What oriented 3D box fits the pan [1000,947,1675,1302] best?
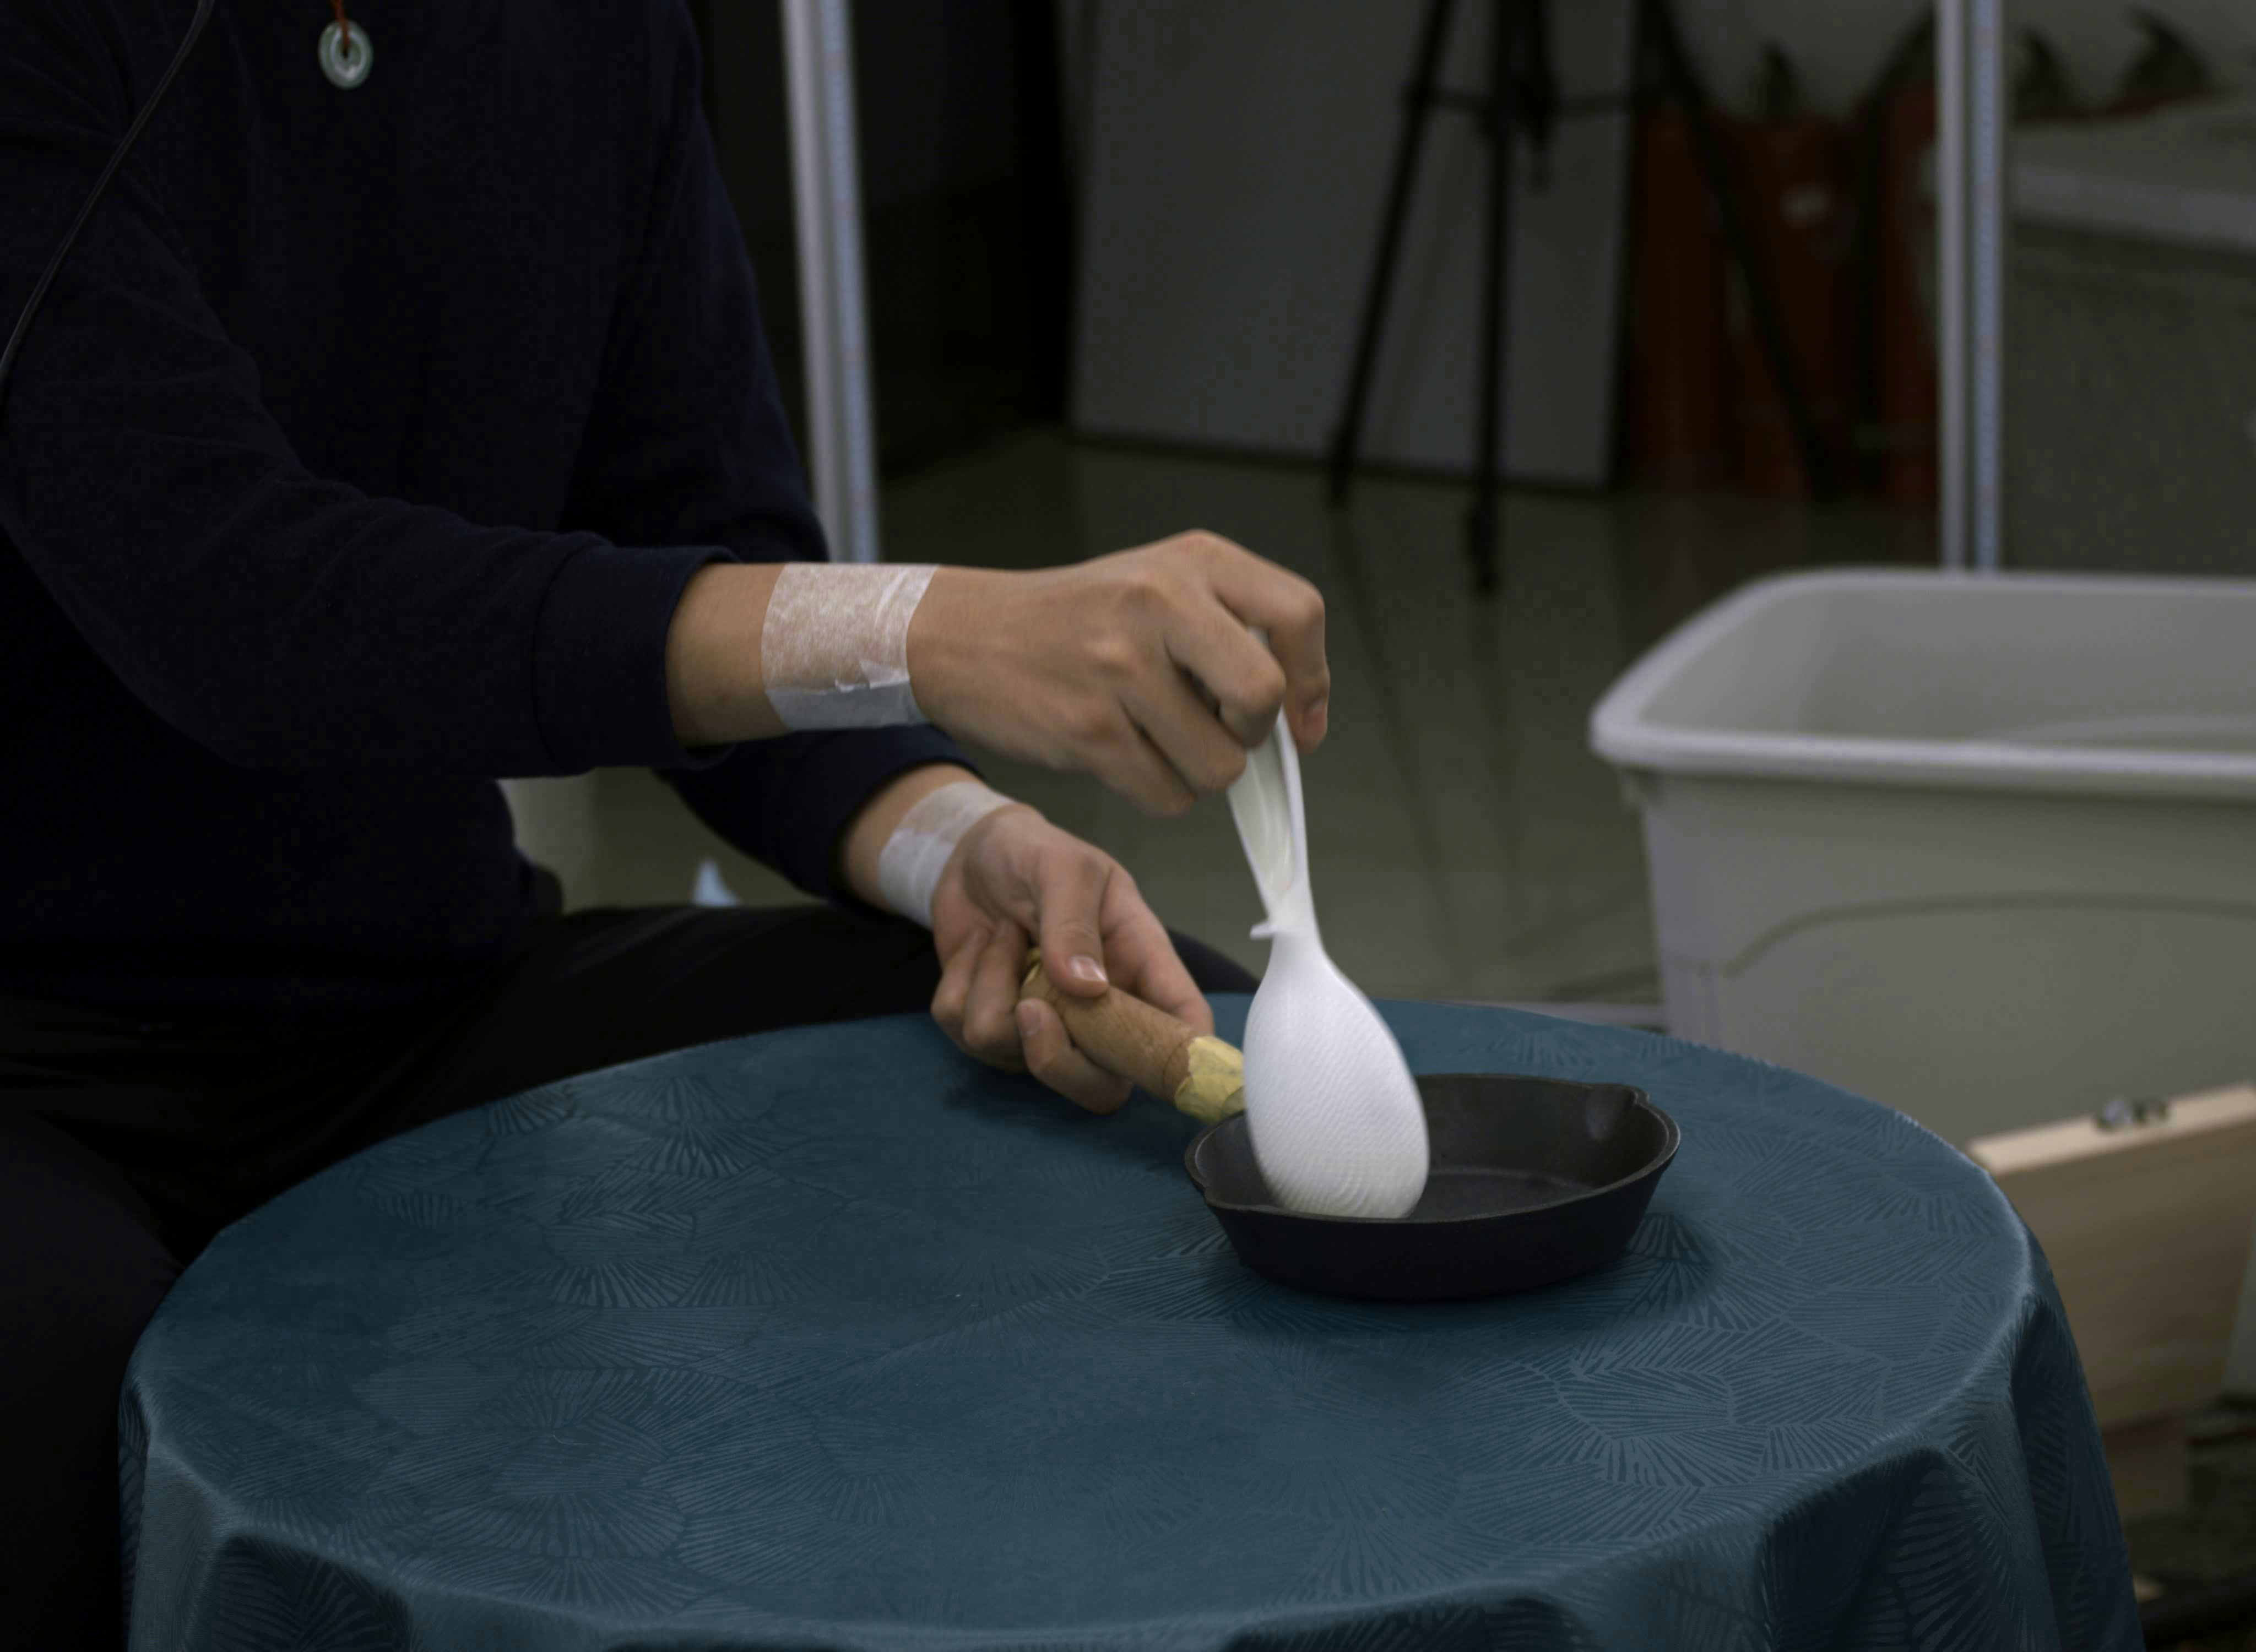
[{"bbox_3d":[0.051,0.093,1.764,0.165,0.050,0.327,-12,16,-30],"label":"pan"}]

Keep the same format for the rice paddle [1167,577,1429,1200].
[{"bbox_3d":[0.051,0.027,1.661,0.069,0.207,0.029,-6,11,42],"label":"rice paddle"}]
